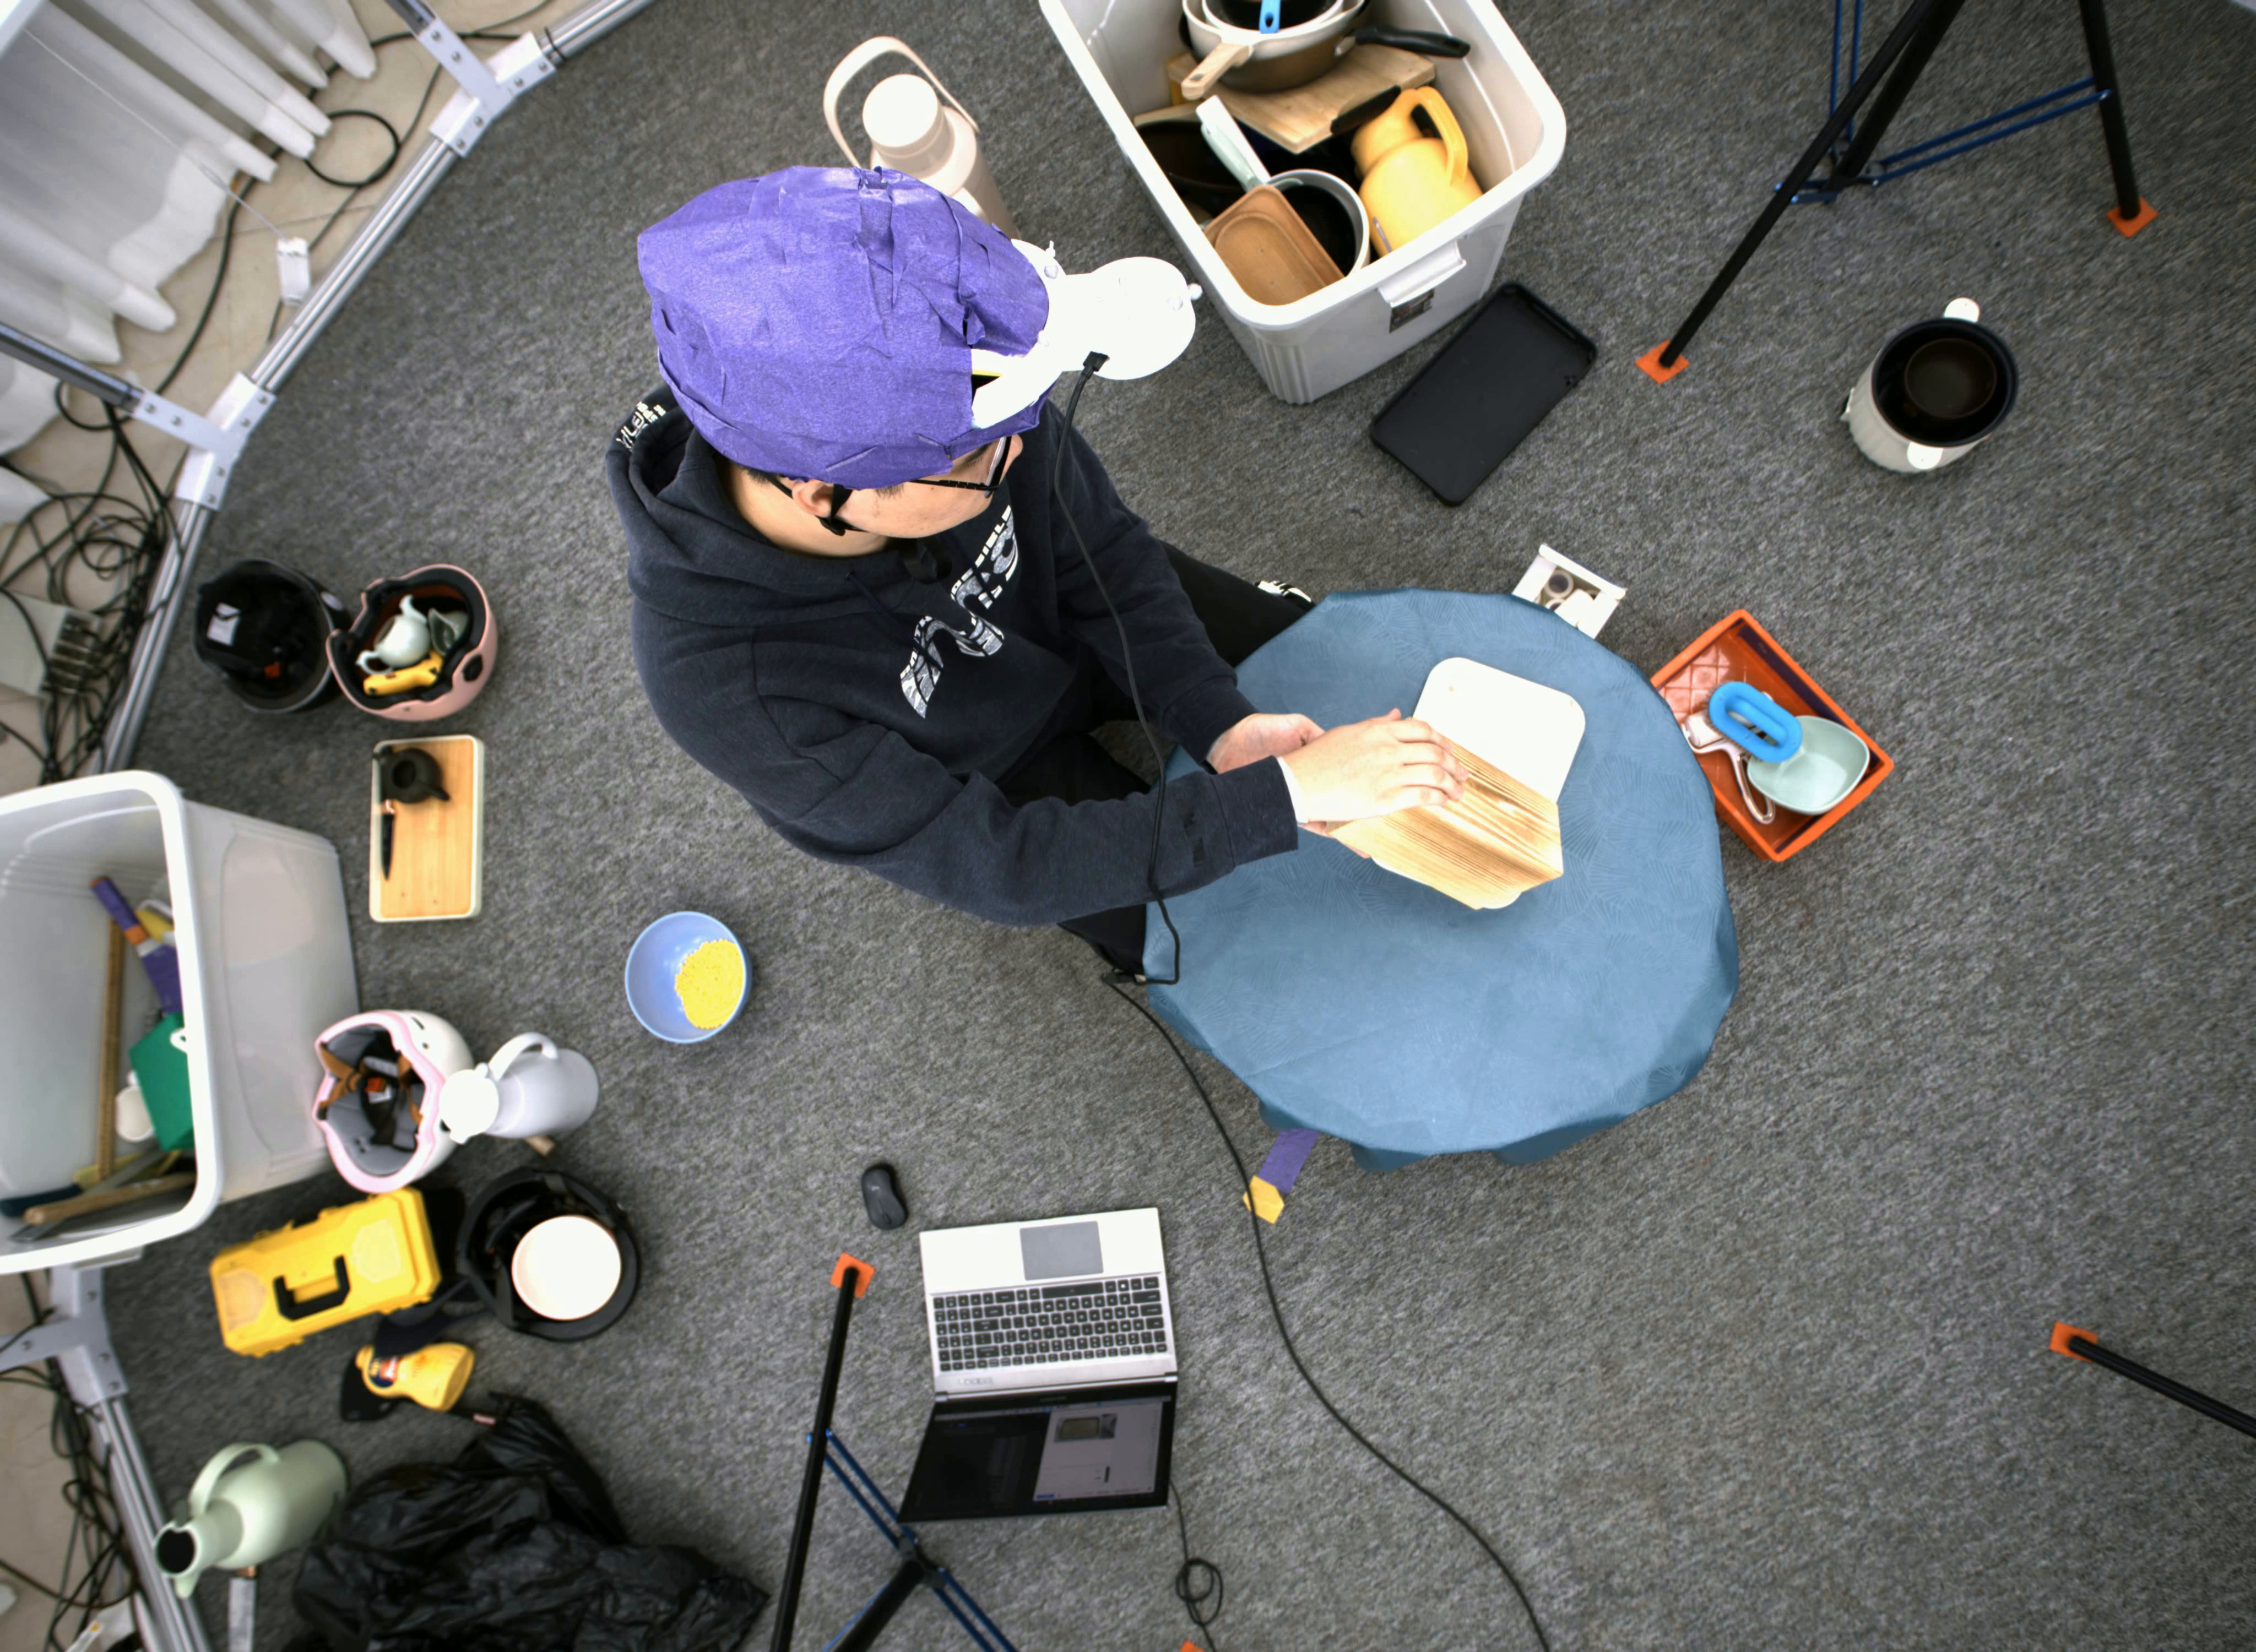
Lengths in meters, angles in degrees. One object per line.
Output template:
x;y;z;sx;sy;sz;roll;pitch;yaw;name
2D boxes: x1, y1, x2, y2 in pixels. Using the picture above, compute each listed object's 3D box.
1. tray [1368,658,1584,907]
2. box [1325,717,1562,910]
0.364;-0.048;1.441;0.171;0.017;0.239;22;91;12;tray
0.298;-0.009;1.296;0.109;0.212;0.078;-29;46;46;box
